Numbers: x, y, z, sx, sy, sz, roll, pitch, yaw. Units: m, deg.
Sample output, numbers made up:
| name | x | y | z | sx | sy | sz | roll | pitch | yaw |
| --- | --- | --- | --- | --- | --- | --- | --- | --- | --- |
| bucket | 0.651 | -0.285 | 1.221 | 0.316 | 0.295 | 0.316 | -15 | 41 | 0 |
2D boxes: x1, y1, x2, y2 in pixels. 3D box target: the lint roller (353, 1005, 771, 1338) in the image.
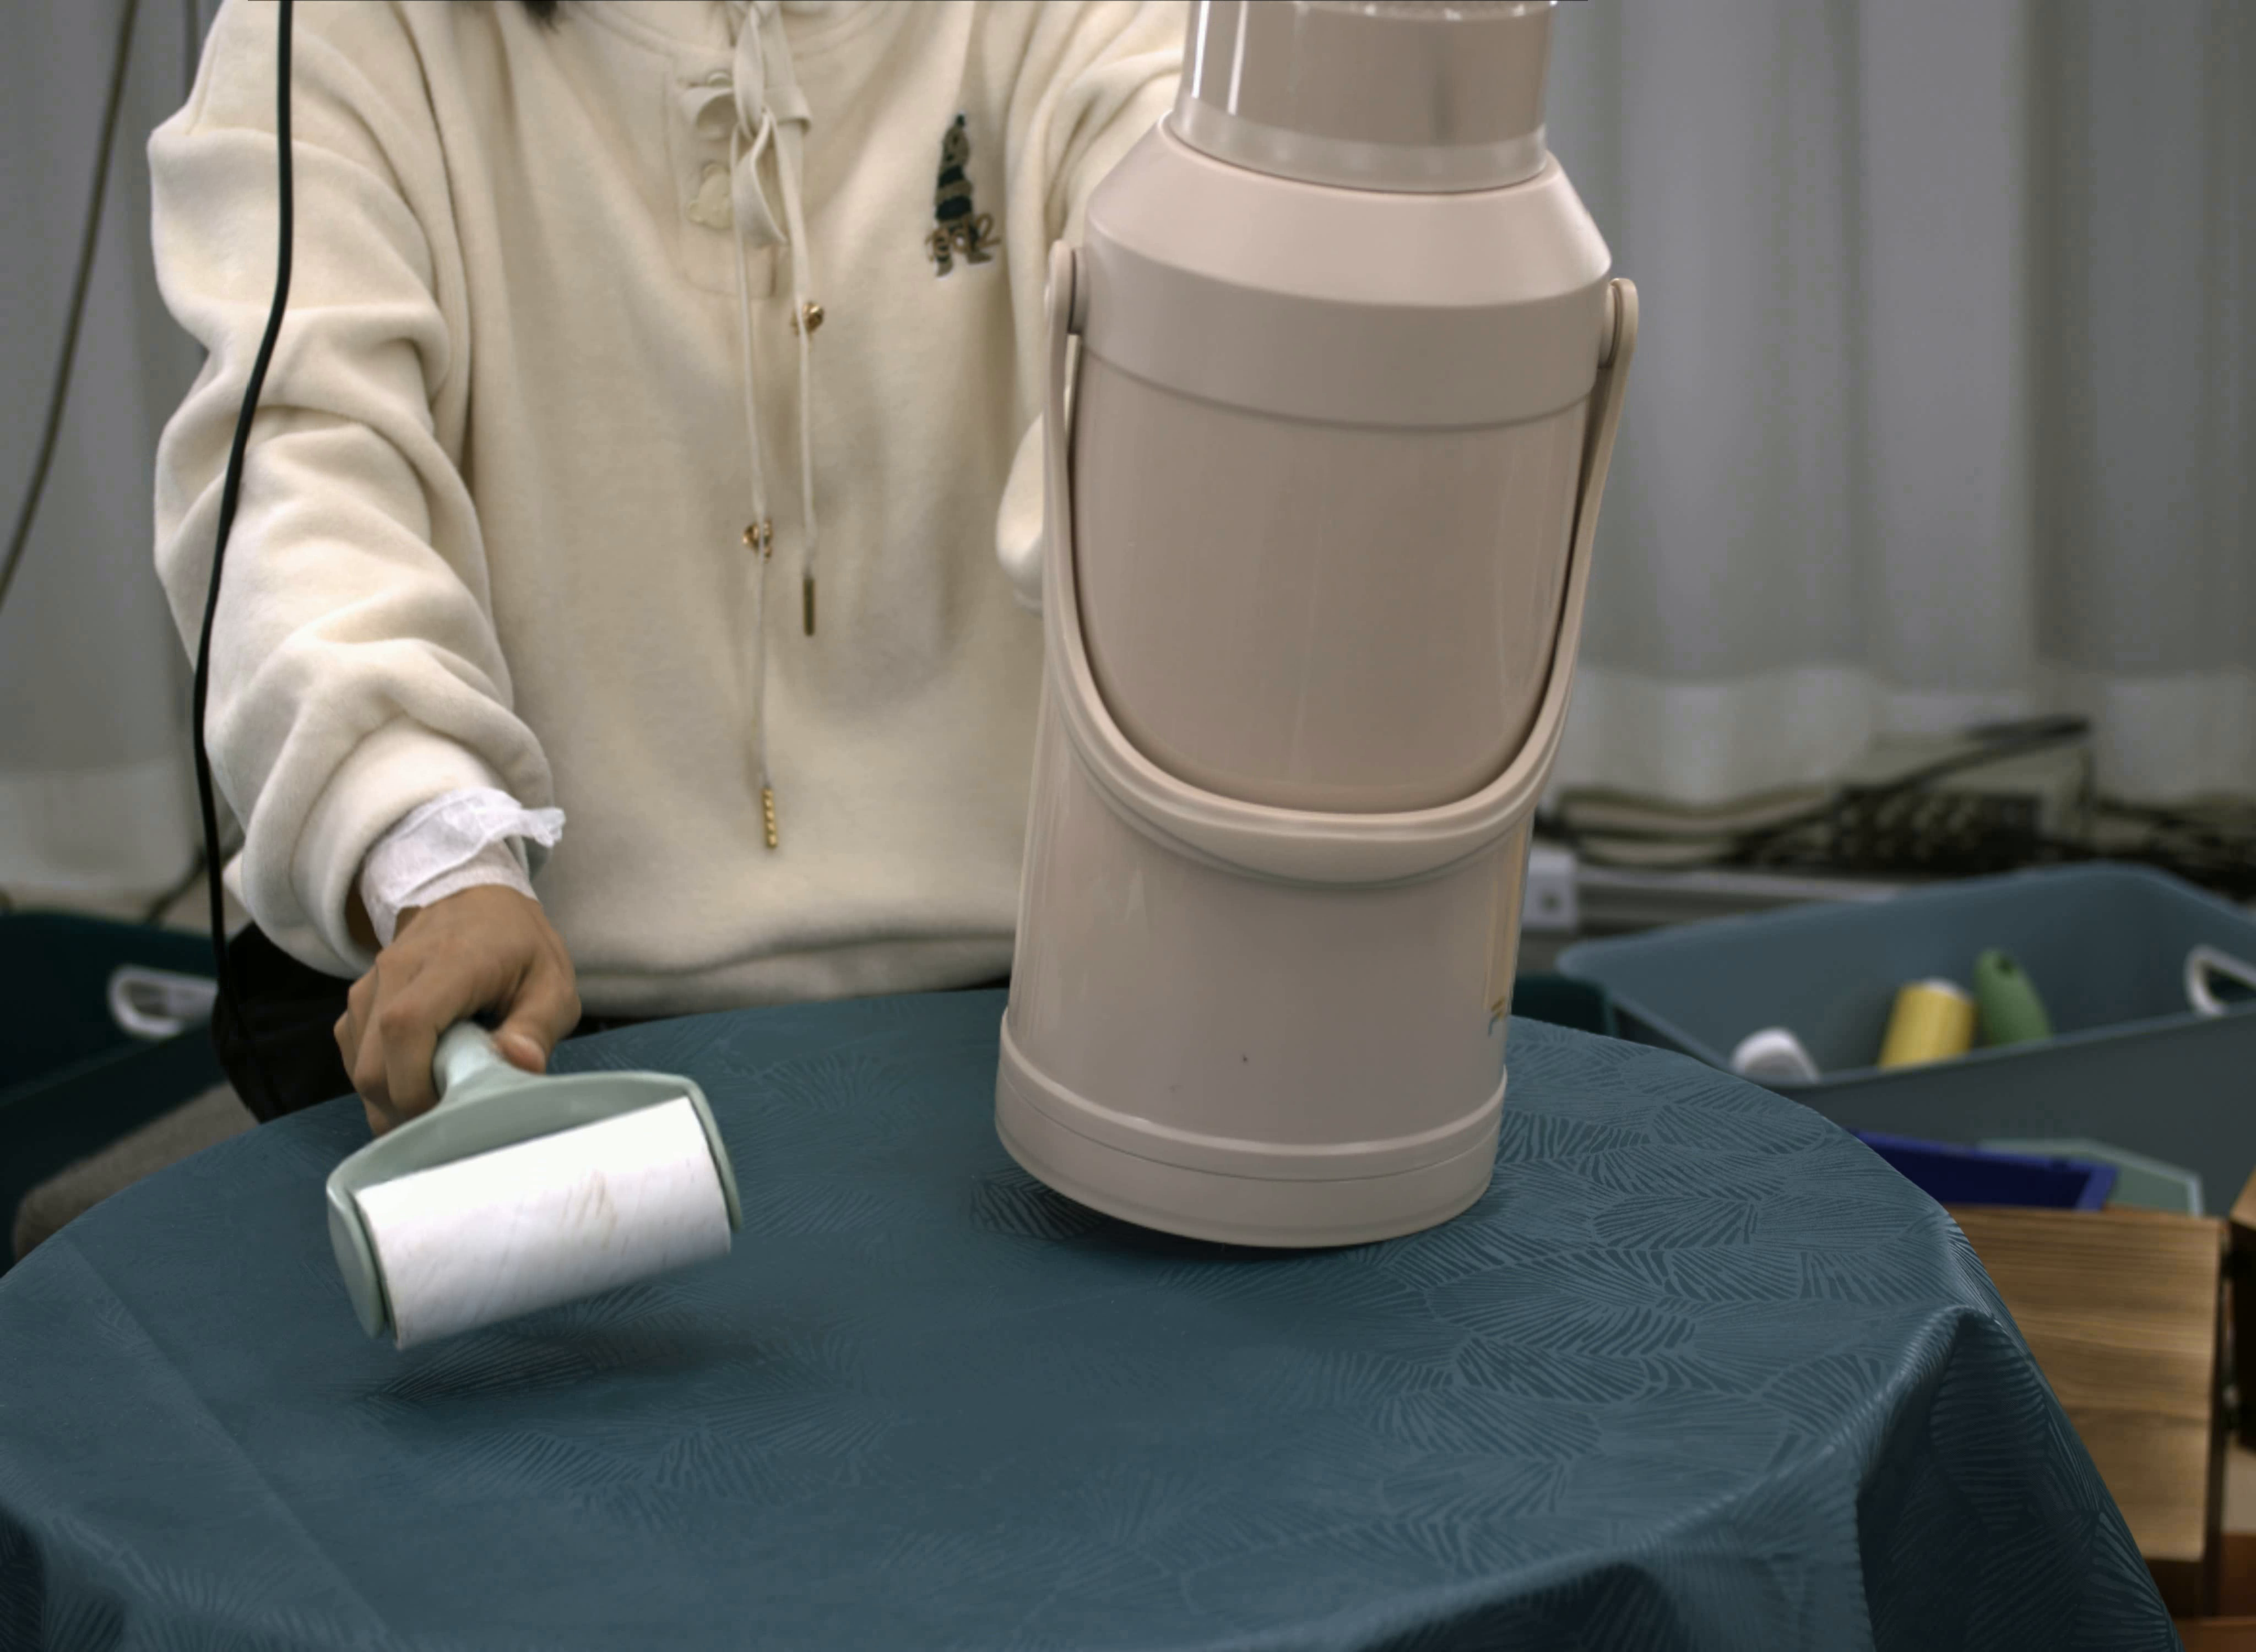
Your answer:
| name | x | y | z | sx | sy | sz | roll | pitch | yaw |
| --- | --- | --- | --- | --- | --- | --- | --- | --- | --- |
| lint roller | -0.184 | 0.085 | 1.646 | 0.116 | 0.048 | 0.200 | -18 | 25 | -12 |

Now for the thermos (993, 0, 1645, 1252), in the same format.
| name | x | y | z | sx | sy | sz | roll | pitch | yaw |
| --- | --- | --- | --- | --- | --- | --- | --- | --- | --- |
| thermos | 0.057 | -0.090 | 1.661 | 0.174 | 0.404 | 0.209 | 3 | 19 | -7 |
